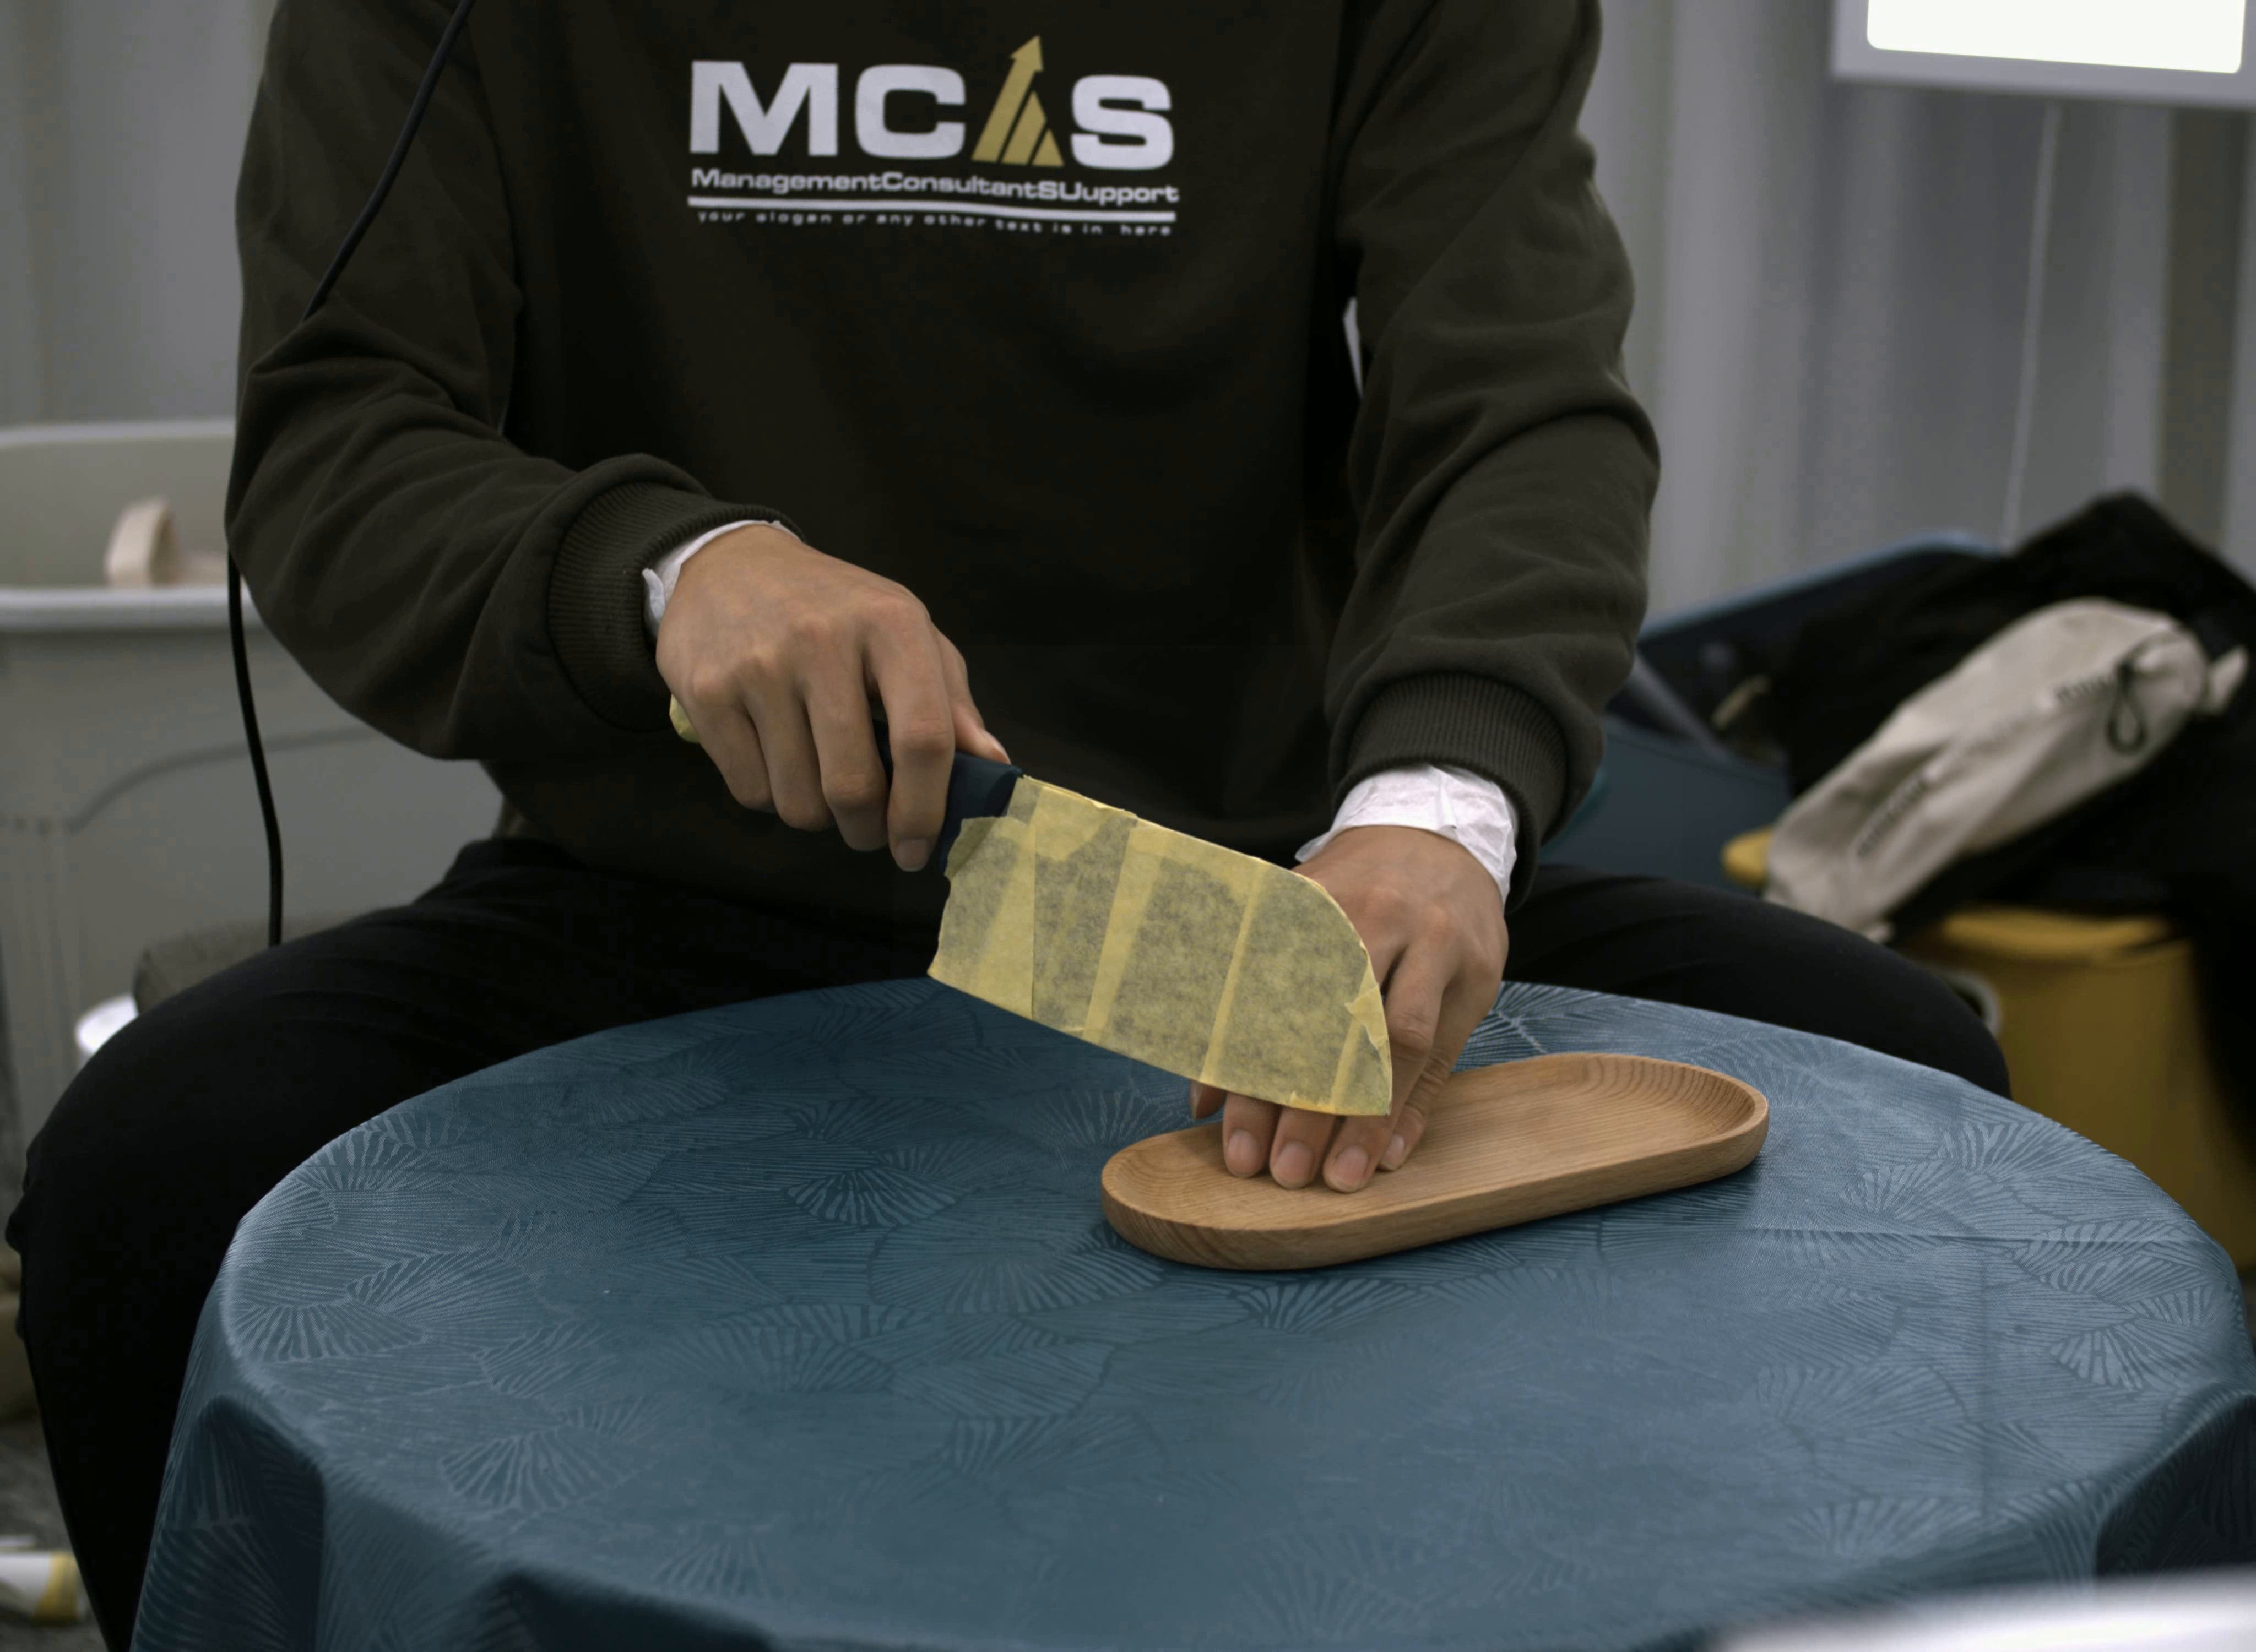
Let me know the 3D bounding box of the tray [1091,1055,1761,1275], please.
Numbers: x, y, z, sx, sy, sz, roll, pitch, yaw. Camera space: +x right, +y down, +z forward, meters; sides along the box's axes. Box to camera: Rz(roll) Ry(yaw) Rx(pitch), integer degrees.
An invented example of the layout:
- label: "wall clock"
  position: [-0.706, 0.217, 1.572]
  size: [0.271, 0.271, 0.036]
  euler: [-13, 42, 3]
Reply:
- label: "tray"
  position: [0.094, 0.104, 1.629]
  size: [0.232, 0.020, 0.100]
  euler: [-11, 17, -32]

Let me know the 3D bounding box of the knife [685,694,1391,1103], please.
- label: "knife"
  position: [-0.033, 0.020, 1.657]
  size: [0.286, 0.081, 0.027]
  euler: [23, 10, 32]
